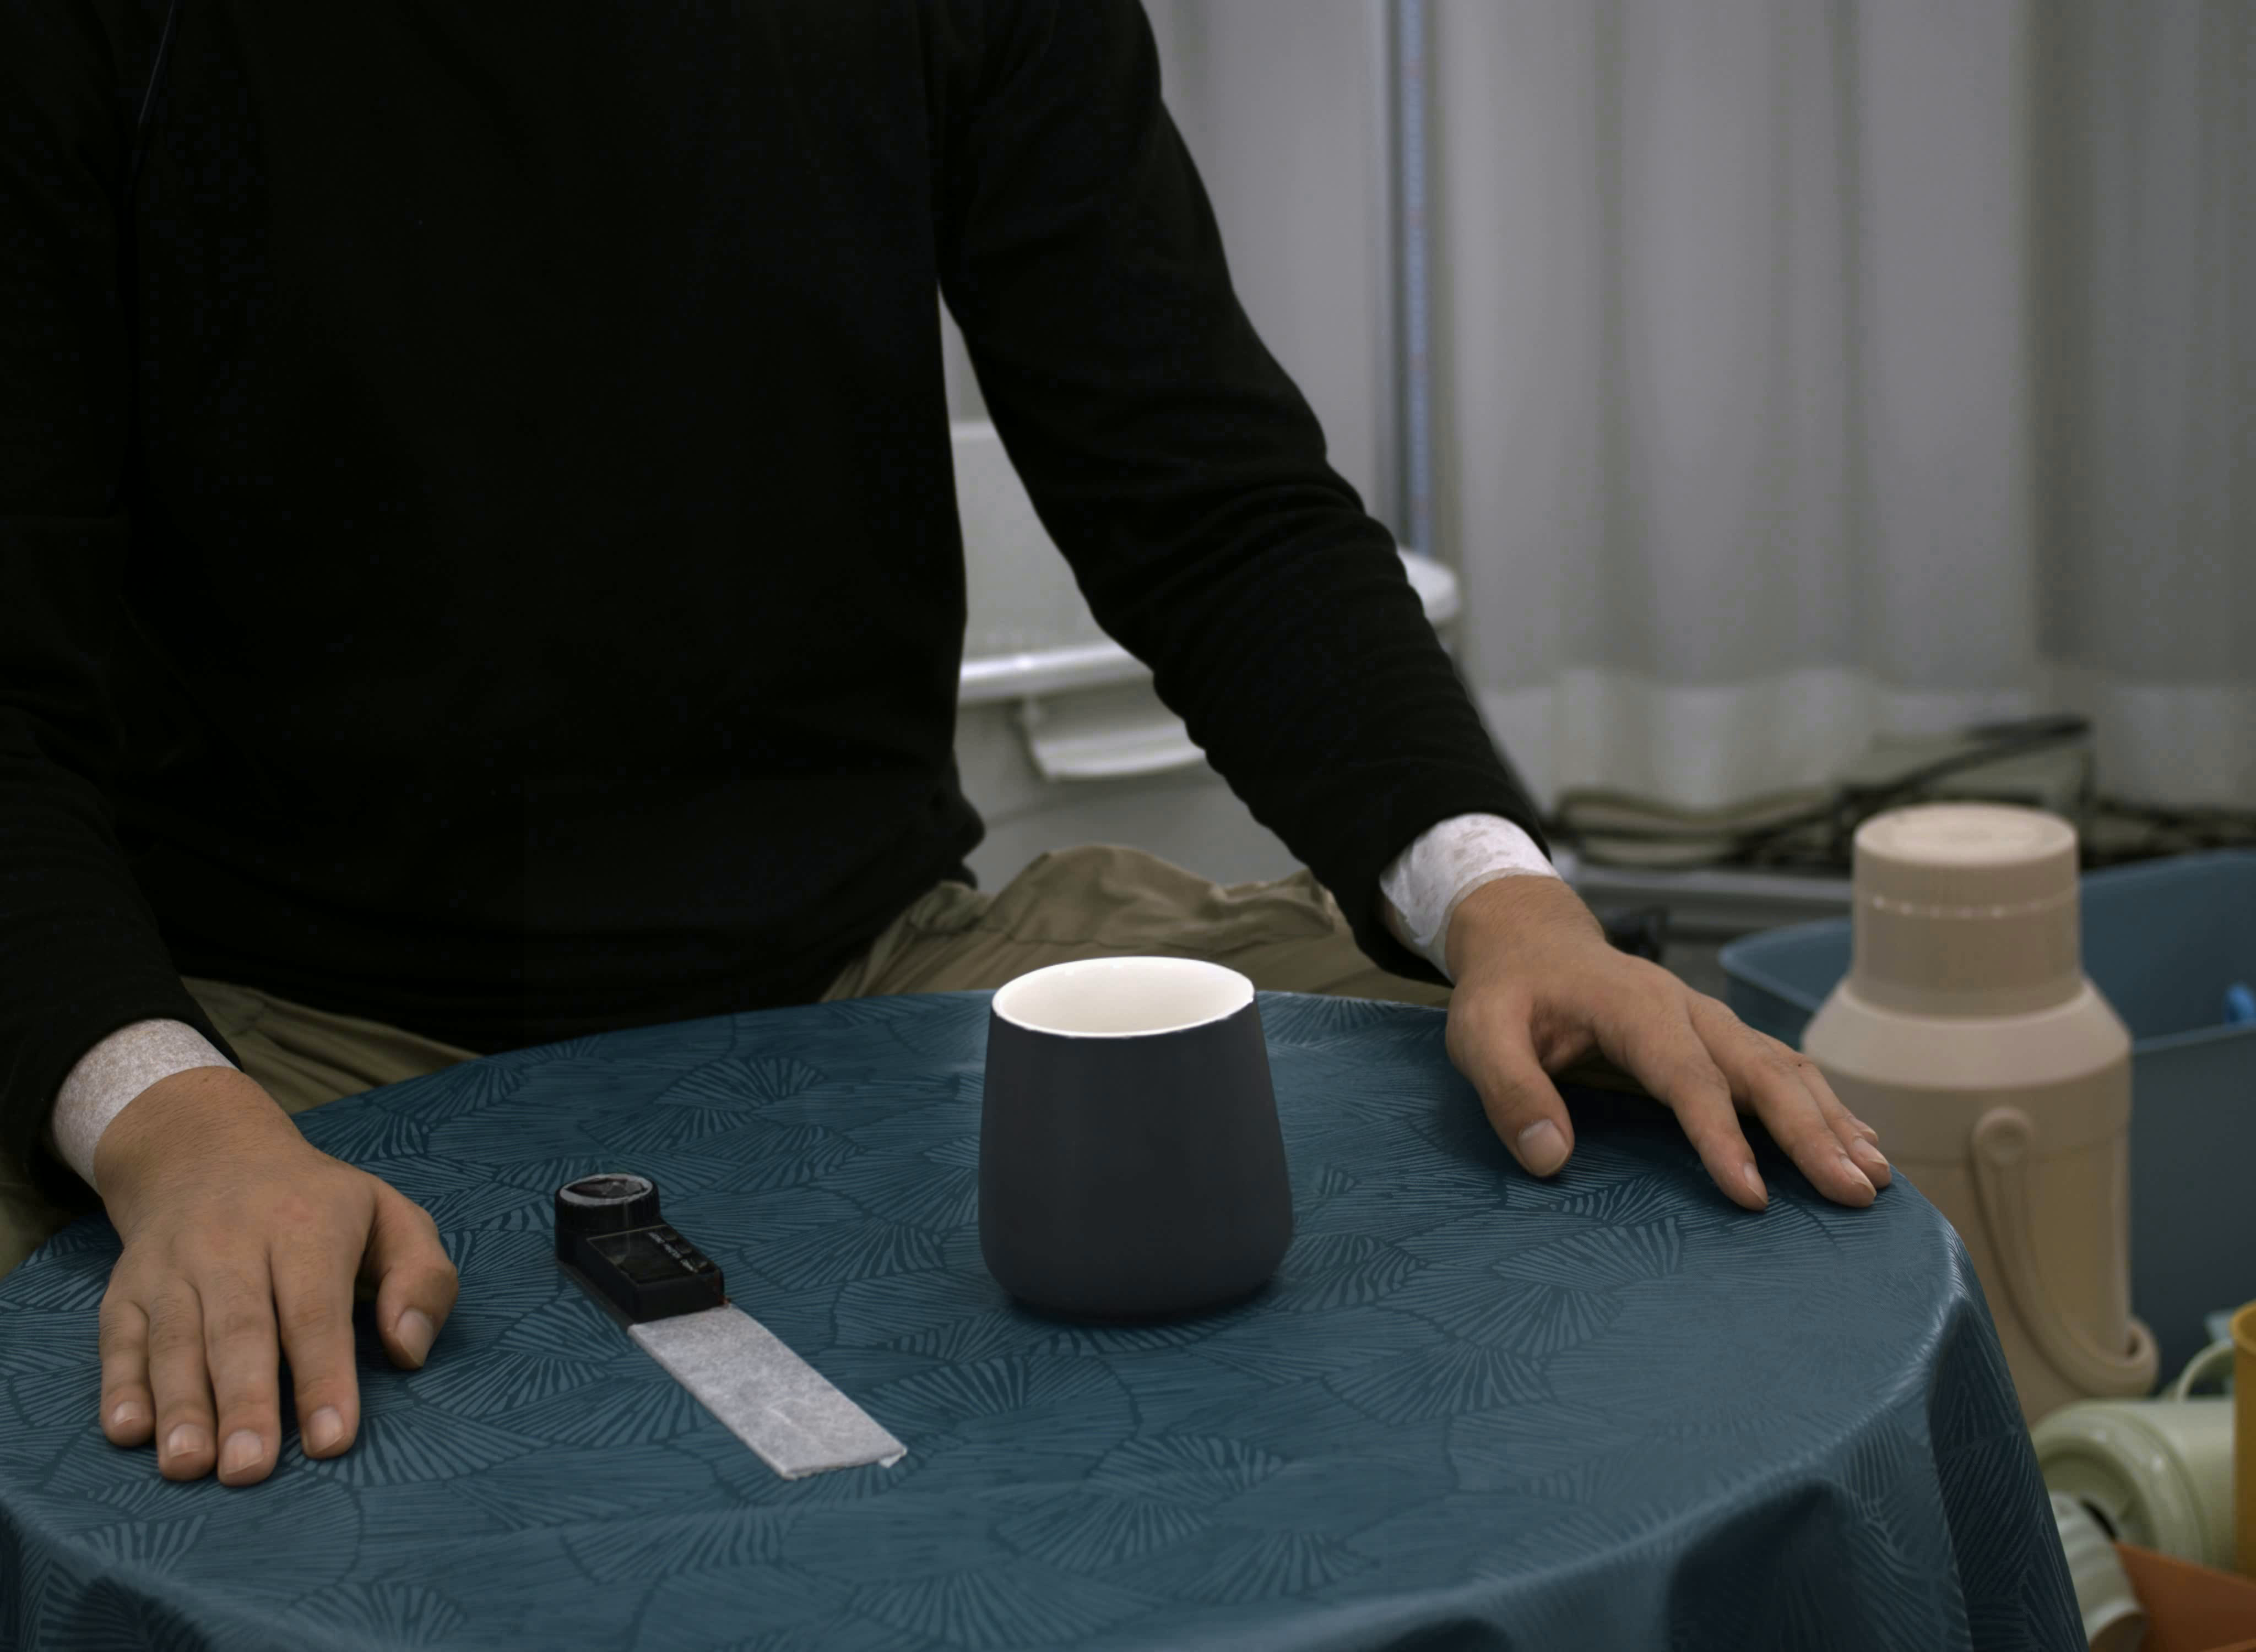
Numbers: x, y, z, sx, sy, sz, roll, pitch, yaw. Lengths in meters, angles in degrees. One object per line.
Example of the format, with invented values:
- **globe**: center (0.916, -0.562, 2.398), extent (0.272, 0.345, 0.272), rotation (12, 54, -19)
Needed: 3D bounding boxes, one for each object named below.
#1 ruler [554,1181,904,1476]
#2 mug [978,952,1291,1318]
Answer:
- **ruler**: center (-0.122, 0.143, 1.589), extent (0.038, 0.024, 0.220), rotation (-16, 17, -20)
- **mug**: center (-0.004, 0.088, 1.635), extent (0.093, 0.089, 0.124), rotation (-7, 16, -19)
